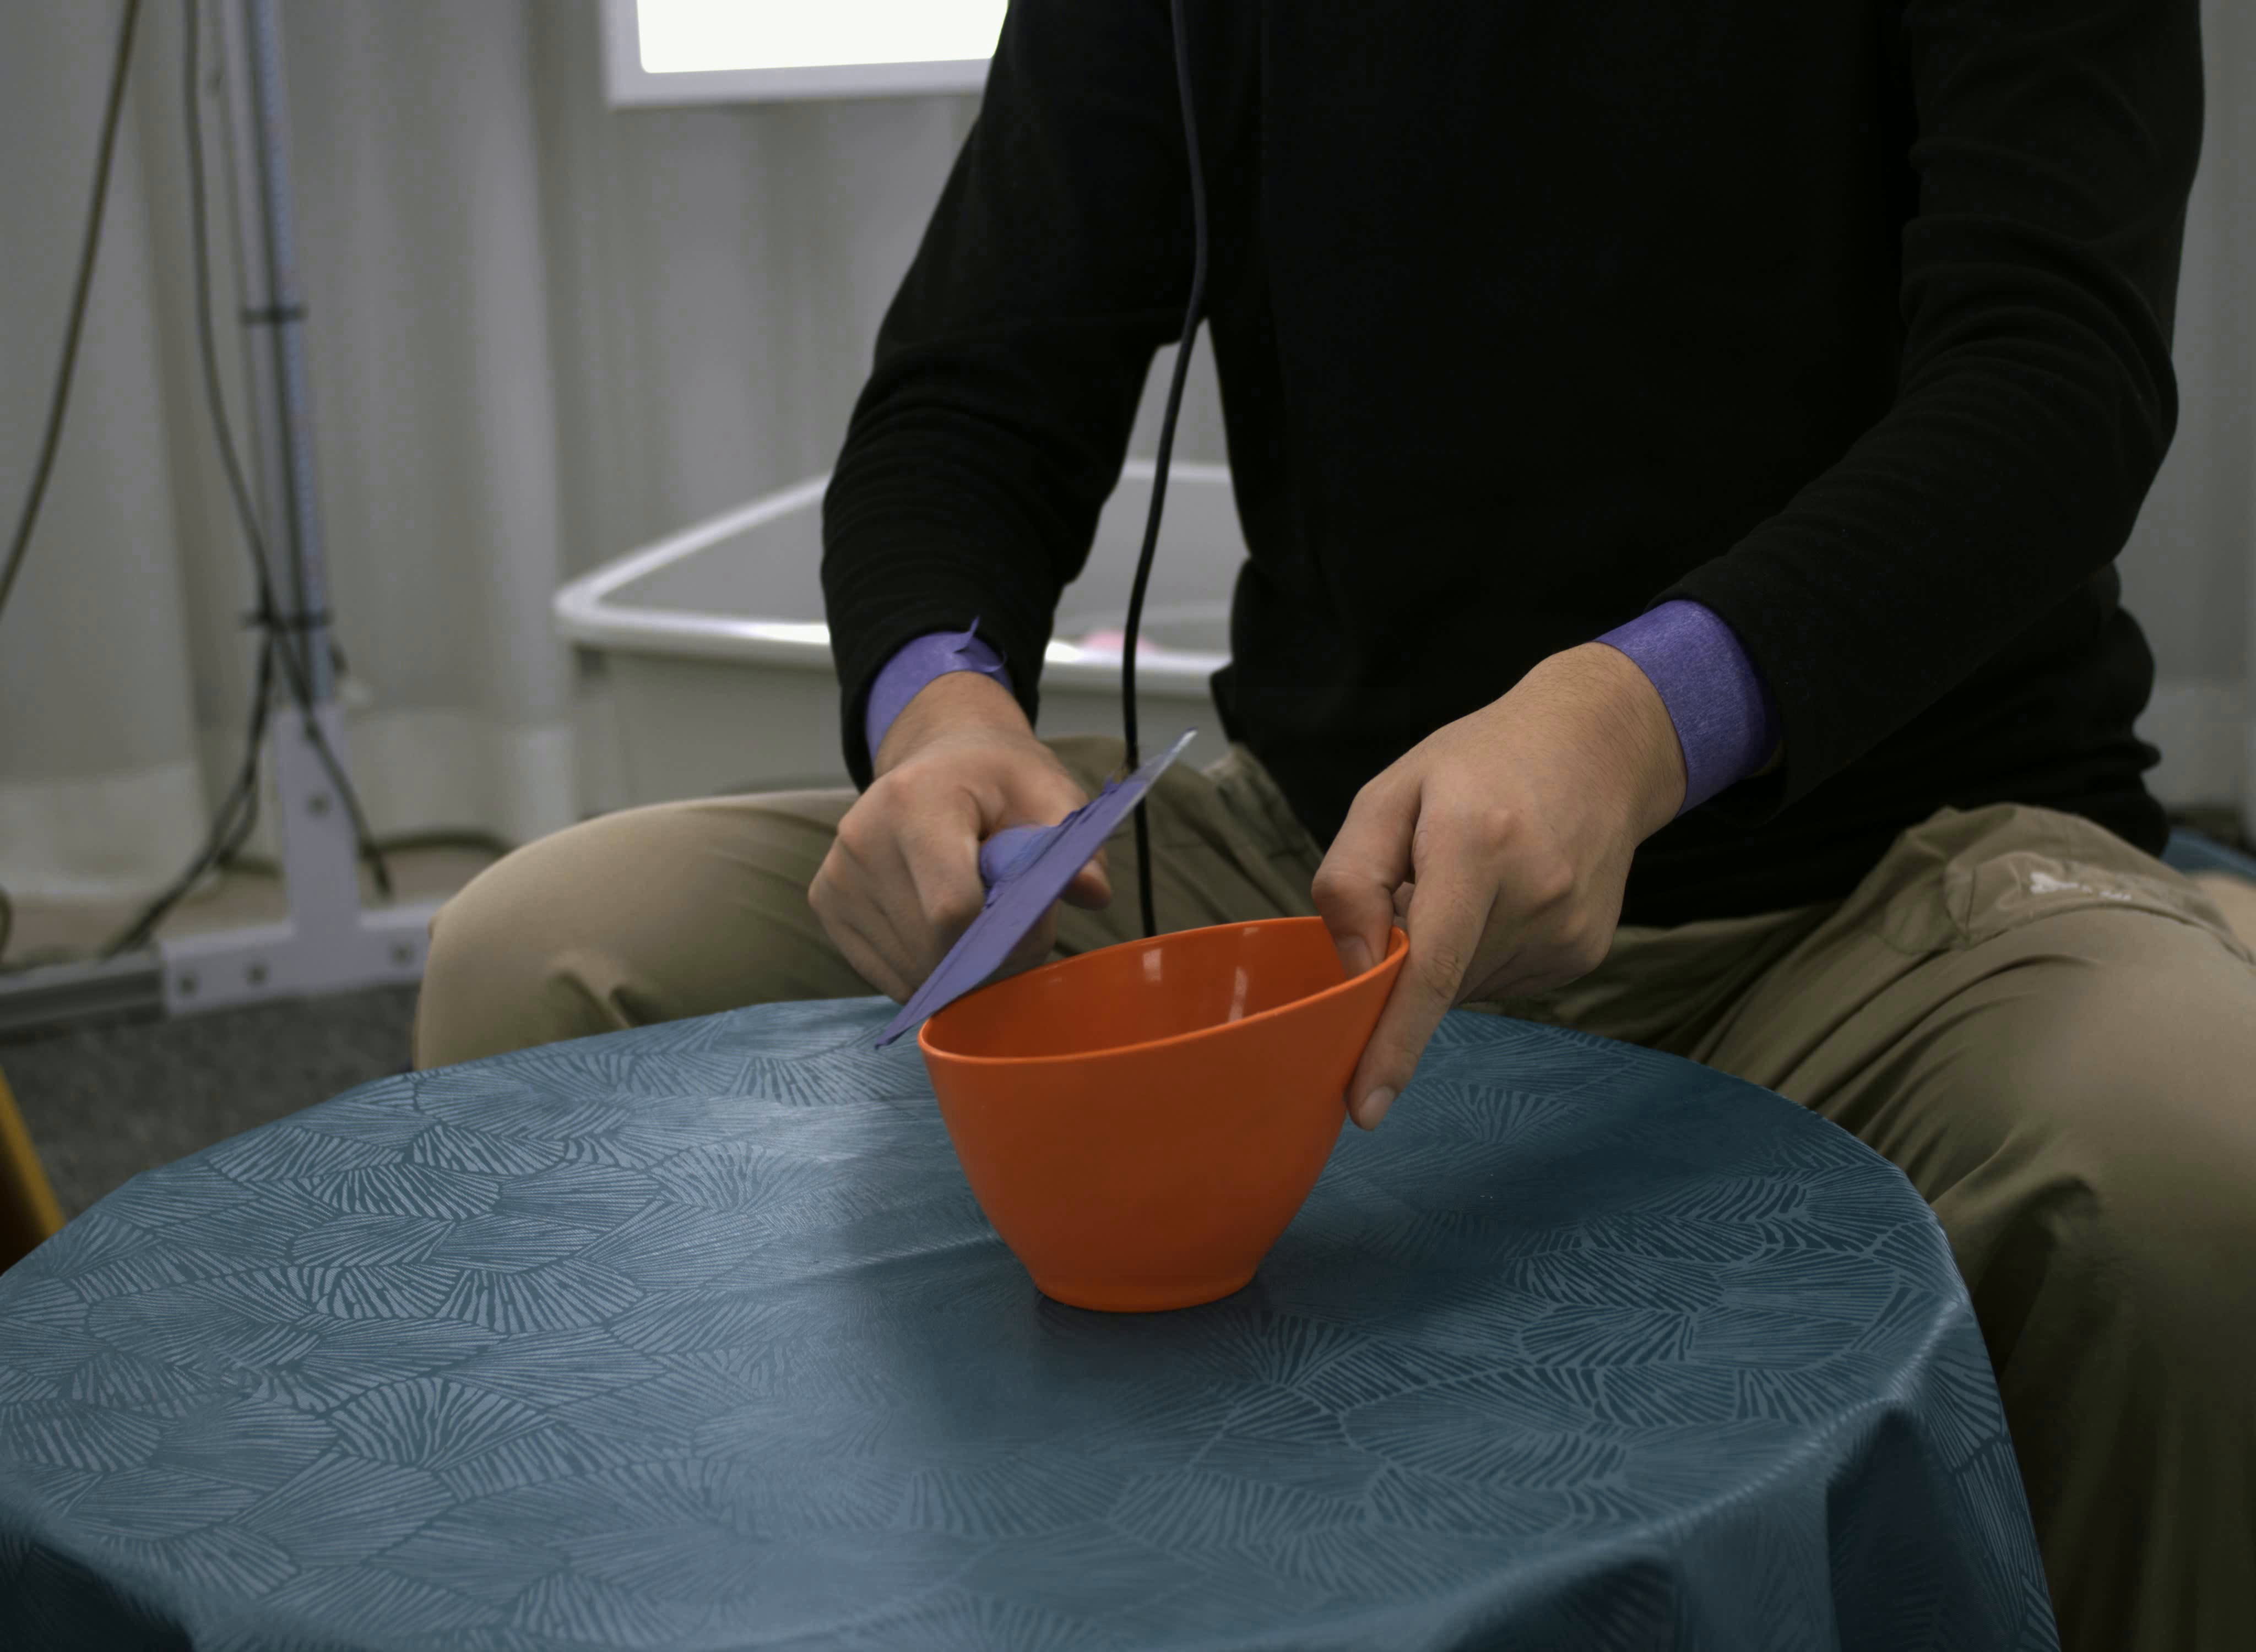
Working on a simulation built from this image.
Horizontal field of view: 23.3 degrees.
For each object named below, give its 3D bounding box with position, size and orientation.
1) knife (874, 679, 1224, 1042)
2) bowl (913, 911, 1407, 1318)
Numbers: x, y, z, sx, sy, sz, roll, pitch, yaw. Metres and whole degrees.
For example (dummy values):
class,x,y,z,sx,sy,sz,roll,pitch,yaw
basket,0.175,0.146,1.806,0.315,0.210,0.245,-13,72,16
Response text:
class,x,y,z,sx,sy,sz,roll,pitch,yaw
knife,-0.041,0.024,1.692,0.104,0.032,0.314,-49,2,-17
bowl,0.011,0.087,1.619,0.147,0.104,0.149,-4,16,1
